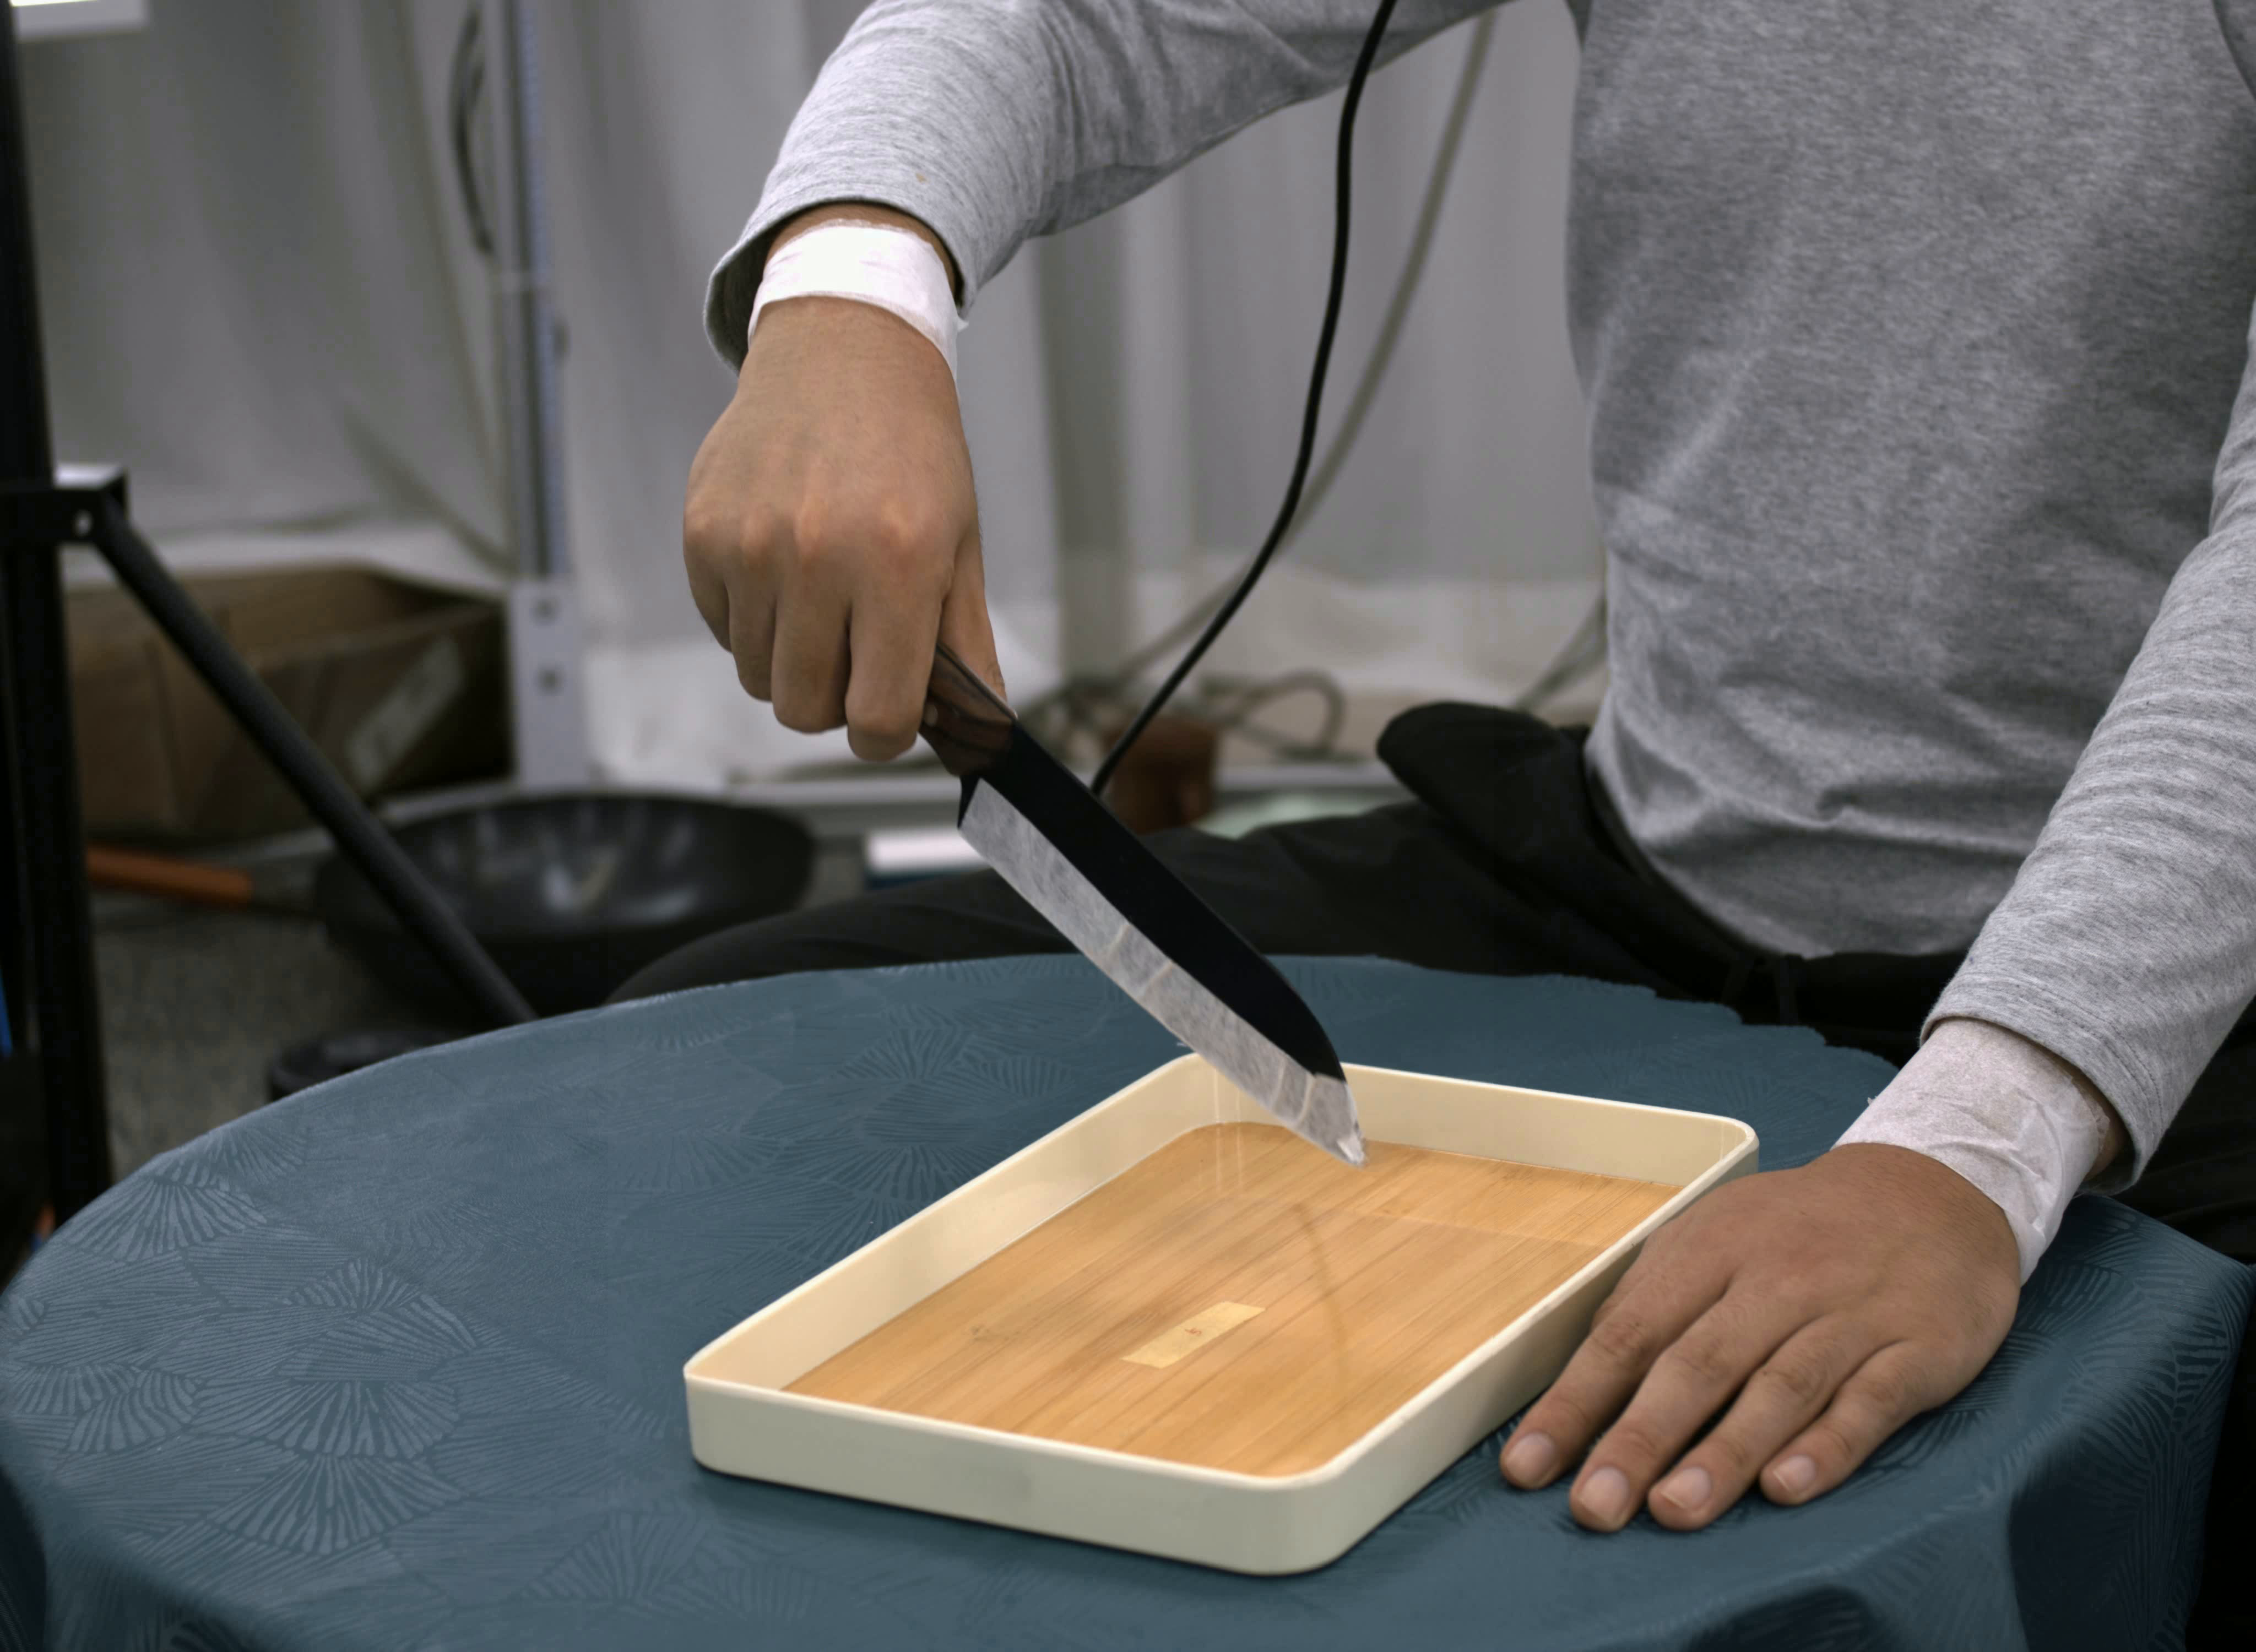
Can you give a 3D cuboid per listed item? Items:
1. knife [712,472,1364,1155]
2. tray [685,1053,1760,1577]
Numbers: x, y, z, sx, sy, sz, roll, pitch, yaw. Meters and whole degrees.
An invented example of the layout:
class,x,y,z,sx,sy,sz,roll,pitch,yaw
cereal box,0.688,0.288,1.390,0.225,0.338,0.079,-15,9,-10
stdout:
class,x,y,z,sx,sy,sz,roll,pitch,yaw
knife,-0.026,-0.006,1.491,0.019,0.050,0.295,-16,50,-41
tray,0.034,0.126,1.444,0.195,0.027,0.295,7,18,29
